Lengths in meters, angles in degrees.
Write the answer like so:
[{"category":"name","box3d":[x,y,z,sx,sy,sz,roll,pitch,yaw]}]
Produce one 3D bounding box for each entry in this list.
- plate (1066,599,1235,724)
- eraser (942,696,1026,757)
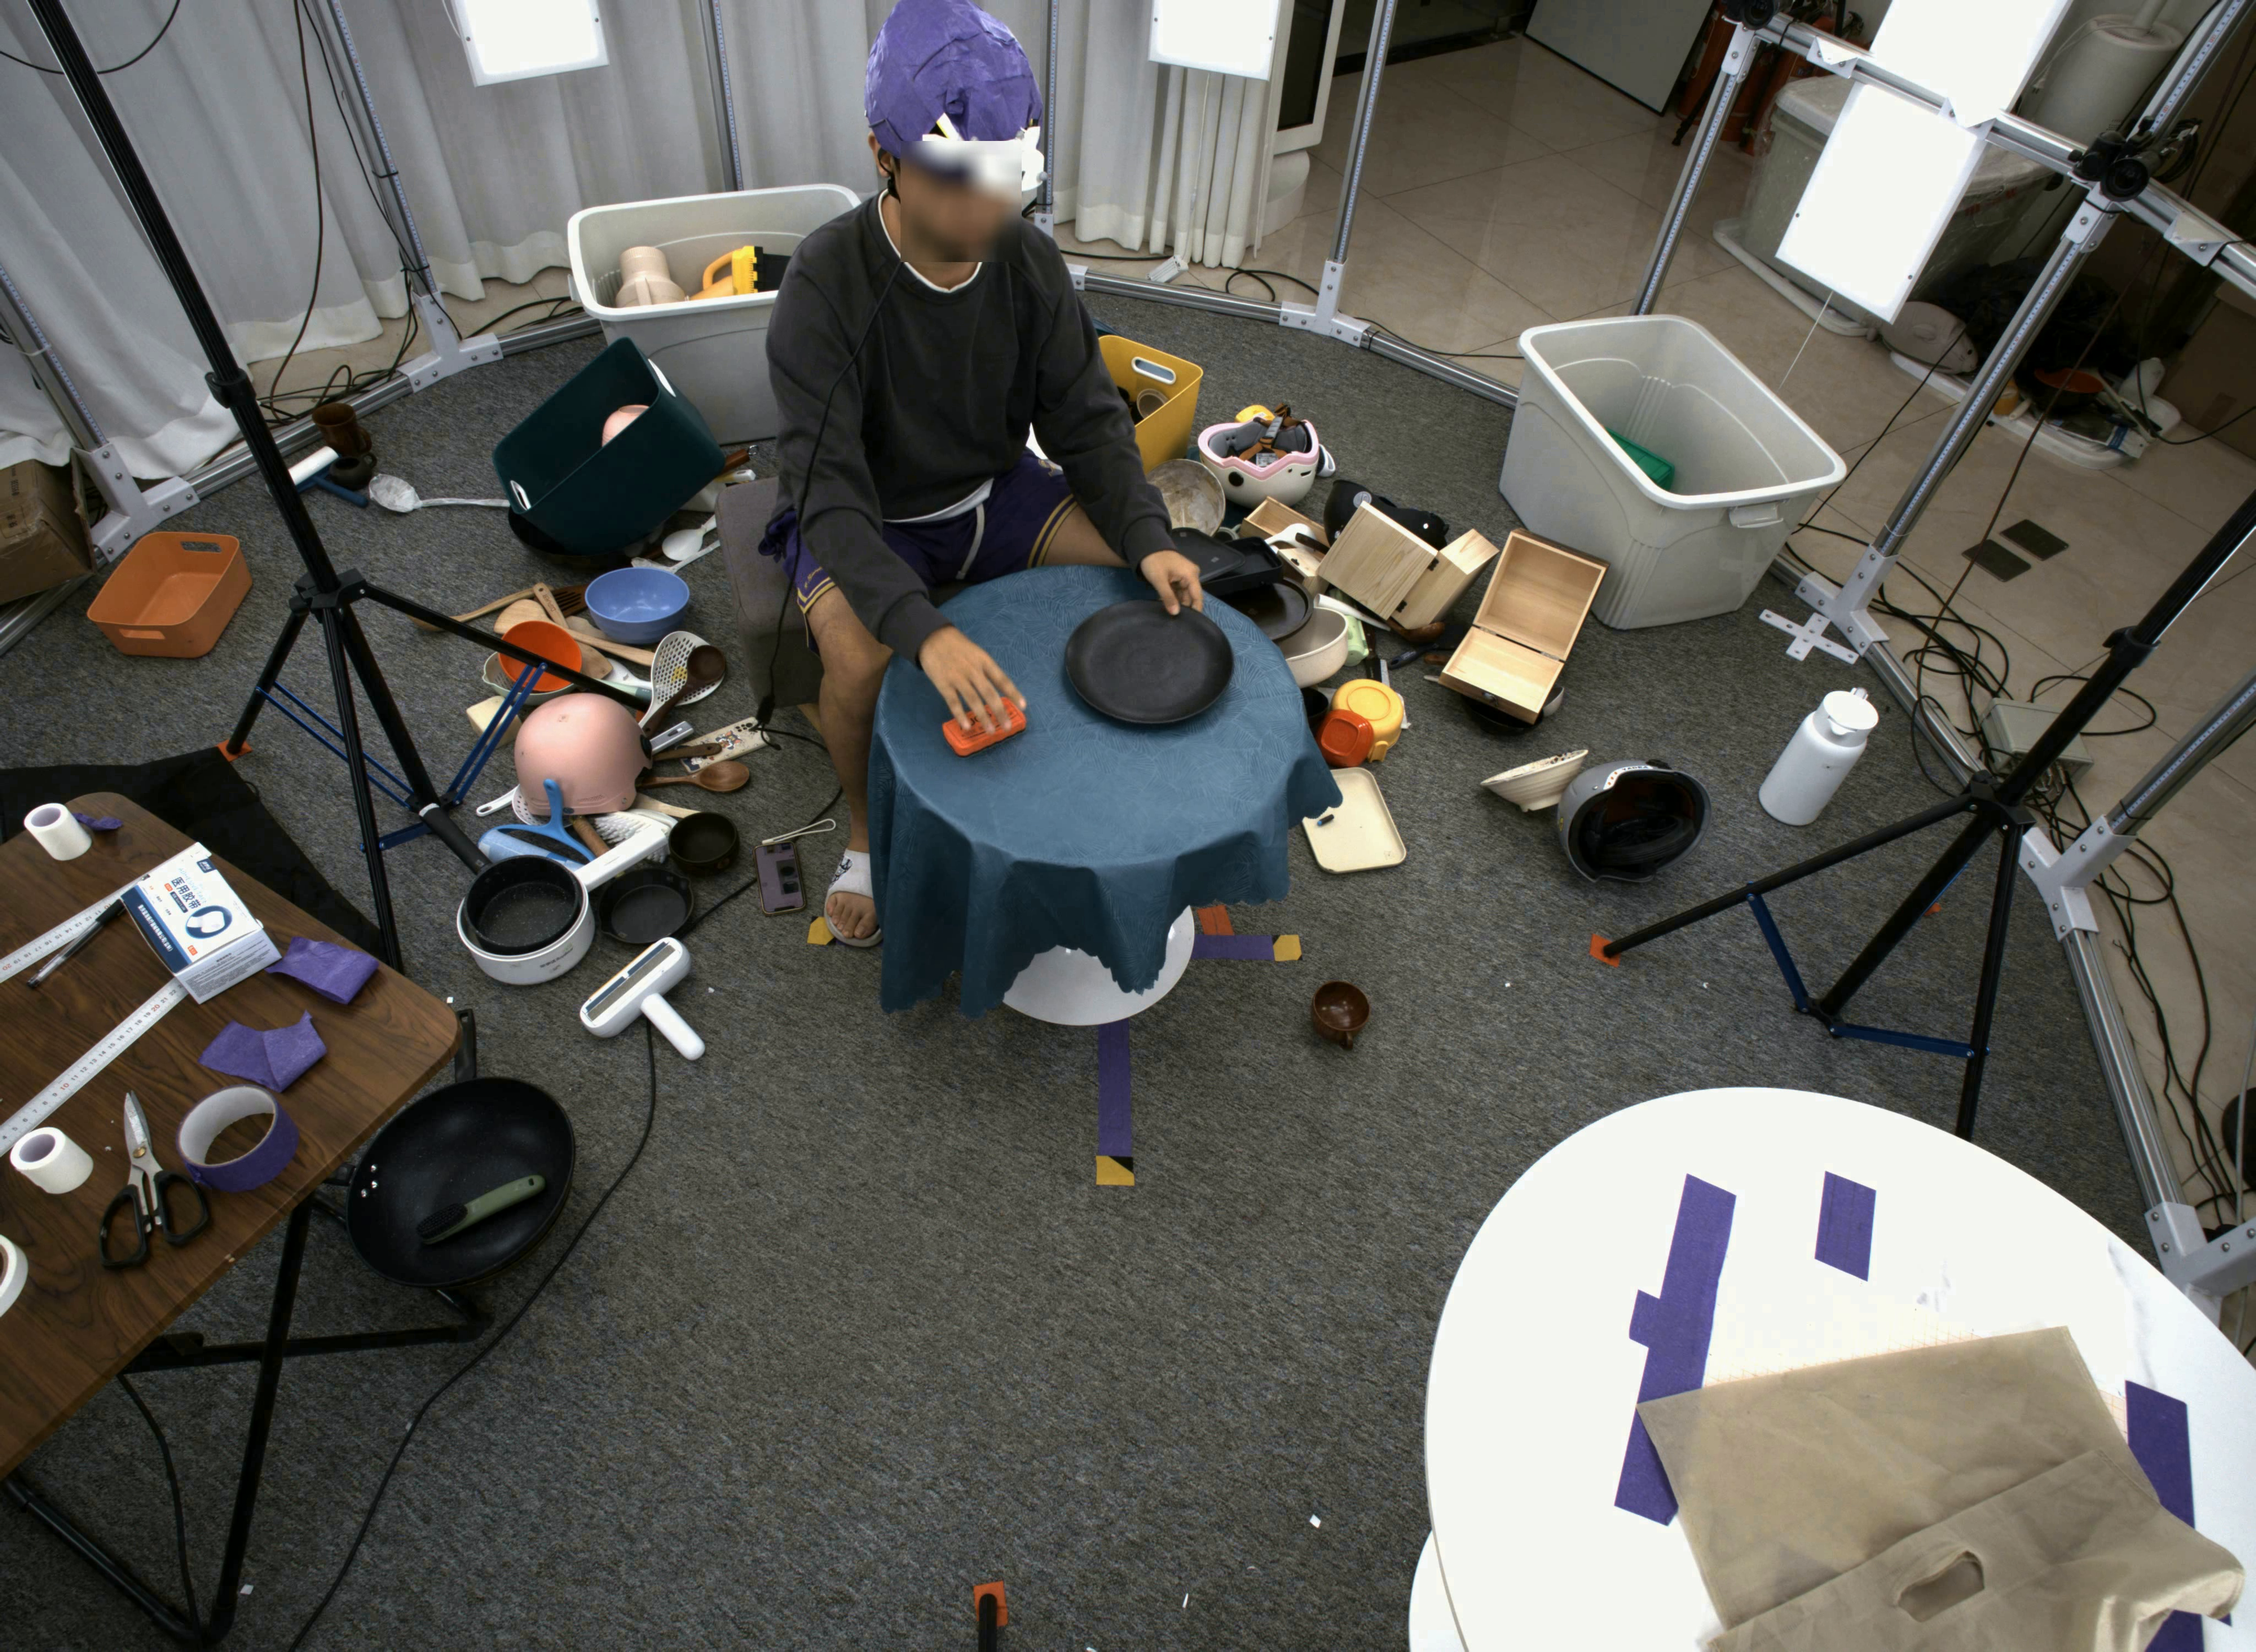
[{"category":"plate","box3d":[0.032,-0.235,1.849,0.244,0.023,0.250,0,52,-1]},{"category":"eraser","box3d":[-0.196,-0.136,1.752,0.108,0.022,0.060,-27,57,-26]}]
